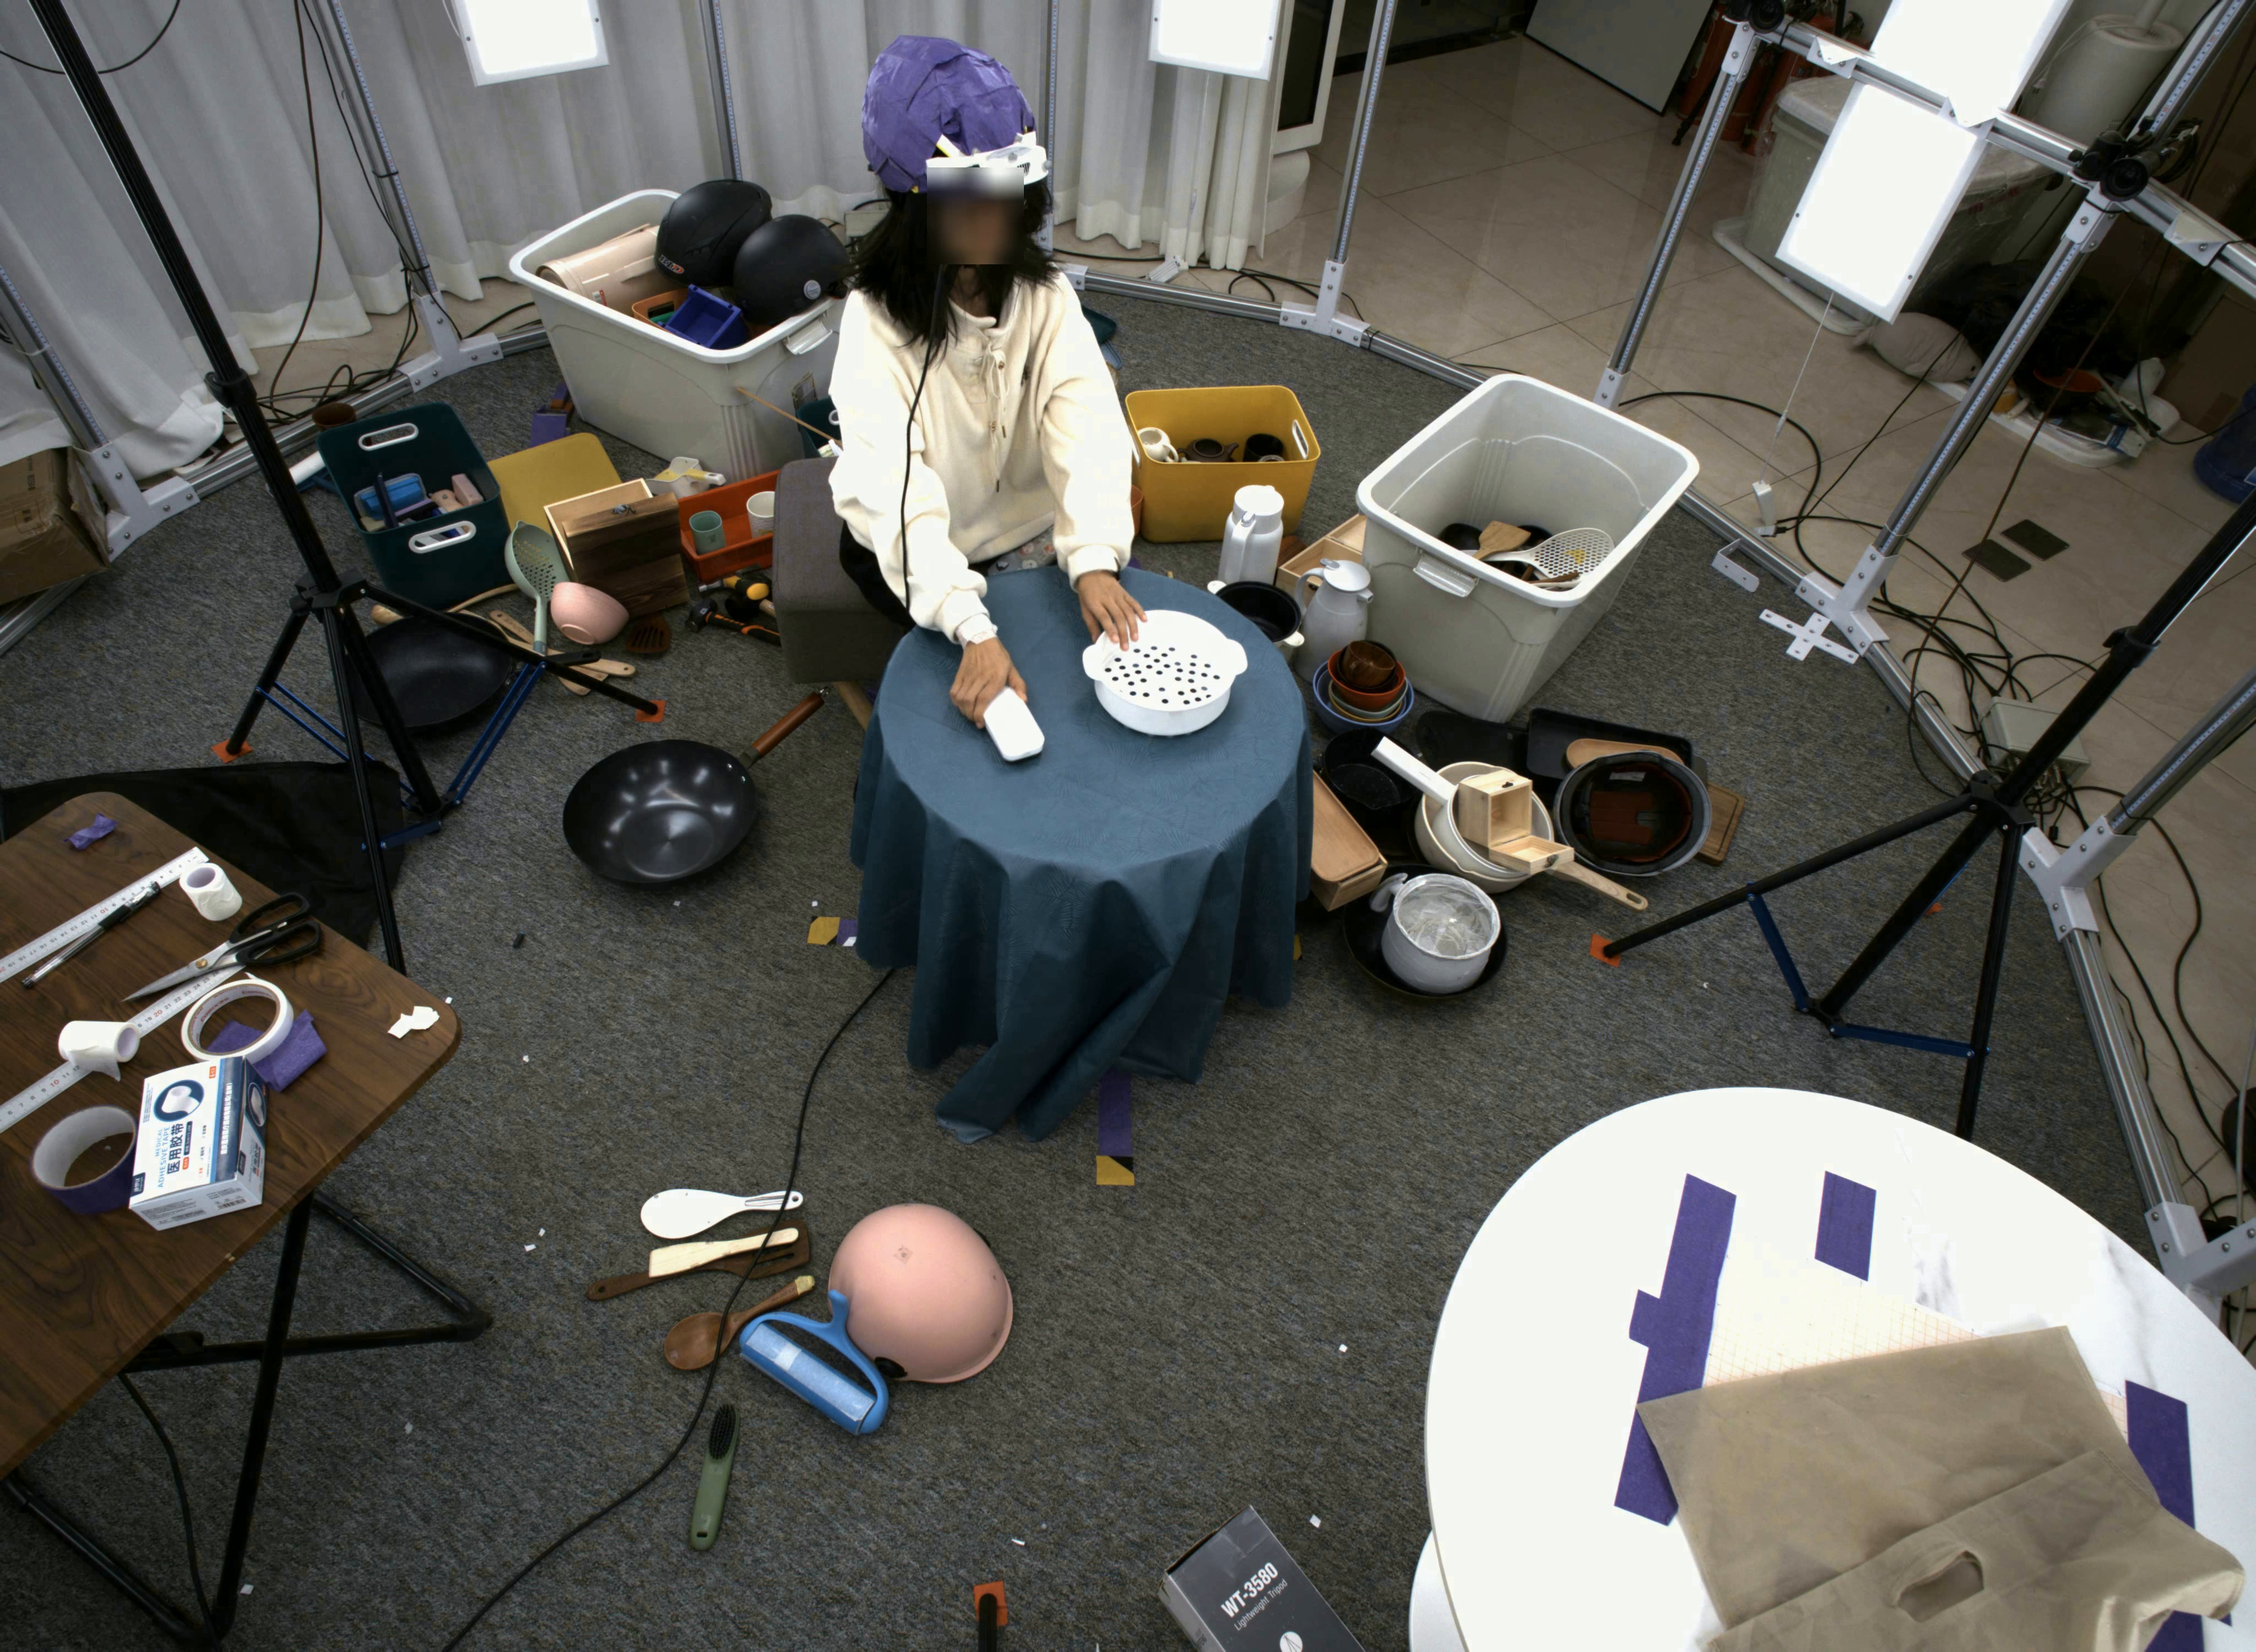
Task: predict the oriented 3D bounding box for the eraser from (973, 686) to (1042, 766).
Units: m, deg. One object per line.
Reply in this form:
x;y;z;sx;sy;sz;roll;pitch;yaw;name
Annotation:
-0.165;-0.141;1.761;0.063;0.034;0.134;-16;53;-17;eraser

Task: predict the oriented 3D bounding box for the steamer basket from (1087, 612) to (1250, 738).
0.055;-0.215;1.817;0.230;0.067;0.207;-3;49;-8;steamer basket
